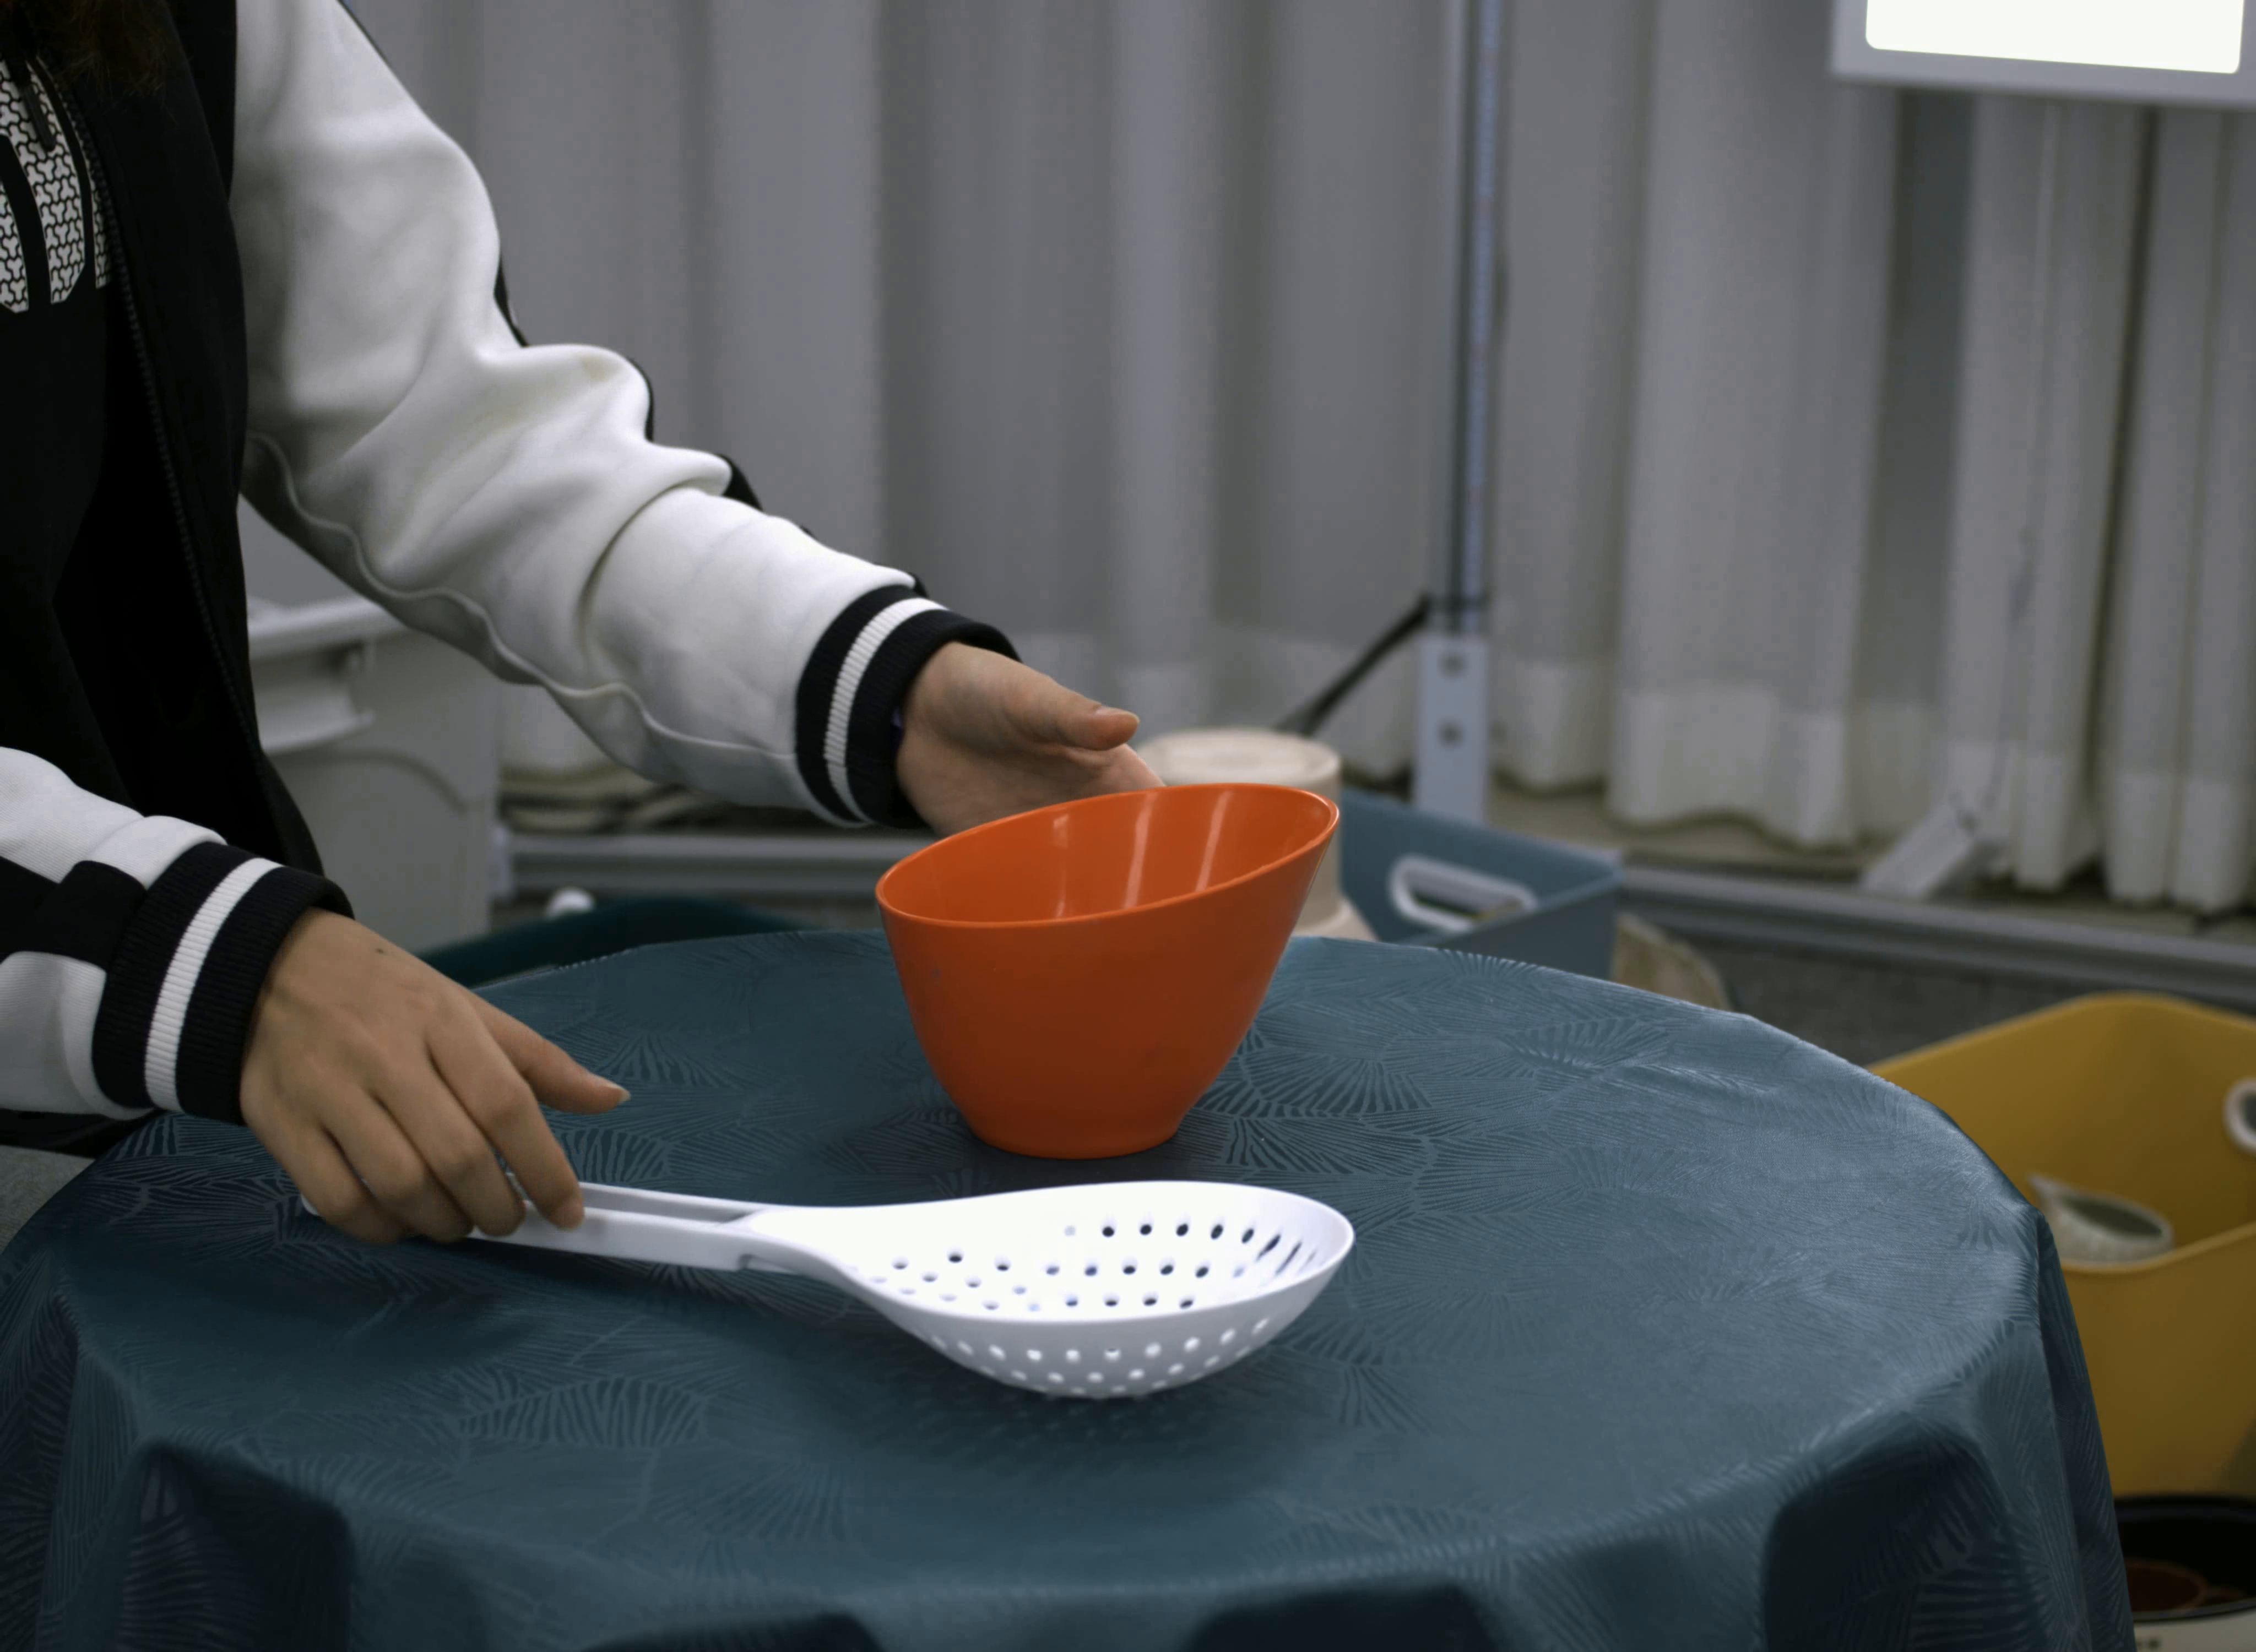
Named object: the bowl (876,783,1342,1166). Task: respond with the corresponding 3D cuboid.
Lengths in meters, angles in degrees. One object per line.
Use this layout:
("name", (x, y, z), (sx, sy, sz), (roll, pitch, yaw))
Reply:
("bowl", (-0.006, 0.048, 1.664), (0.147, 0.105, 0.147), (-1, 18, 1))

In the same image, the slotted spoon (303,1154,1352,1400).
("slotted spoon", (-0.097, 0.119, 1.511), (0.345, 0.046, 0.136), (9, 16, 30))
